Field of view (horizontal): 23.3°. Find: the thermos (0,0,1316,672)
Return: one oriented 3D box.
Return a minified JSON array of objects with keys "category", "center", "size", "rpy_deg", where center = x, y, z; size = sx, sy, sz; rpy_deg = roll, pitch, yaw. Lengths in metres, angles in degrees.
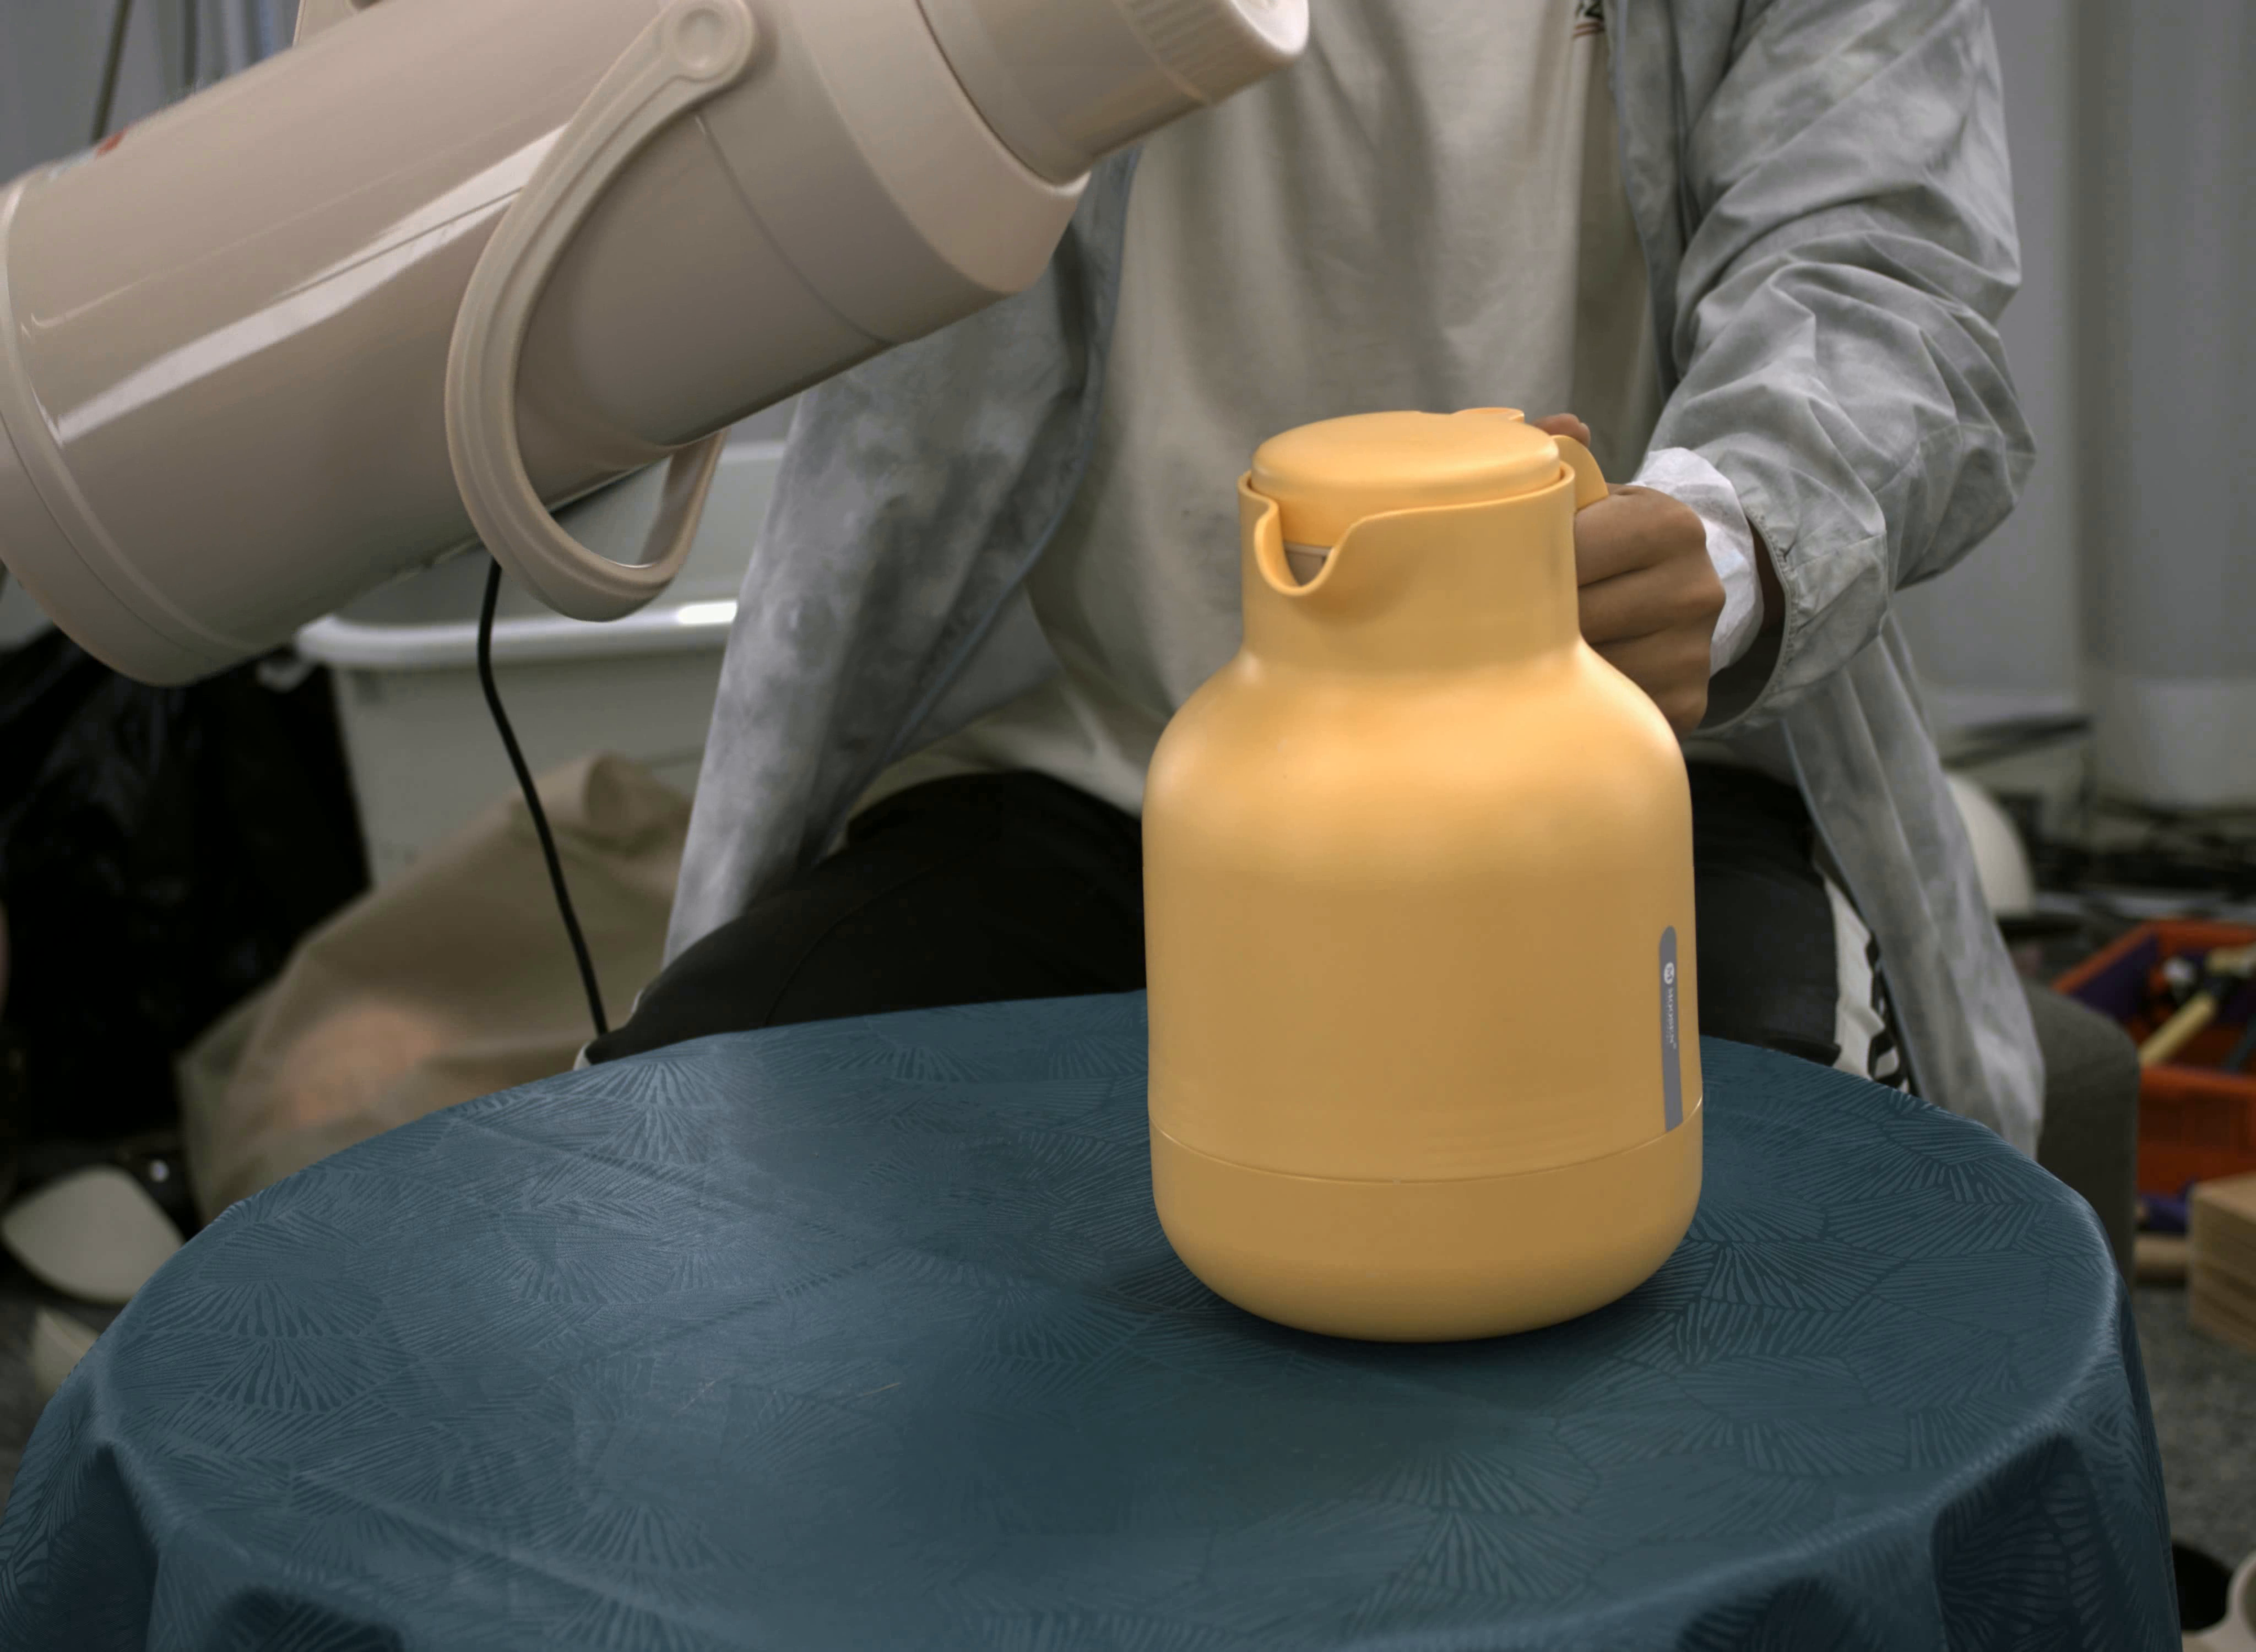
[{"category":"thermos","center":[-0.149,-0.202,1.605],"size":[0.405,0.208,0.174],"rpy_deg":[-22,-10,21]}]

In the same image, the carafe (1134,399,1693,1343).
[{"category":"carafe","center":[0.093,0.005,1.610],"size":[0.164,0.259,0.202],"rpy_deg":[8,19,30]}]
